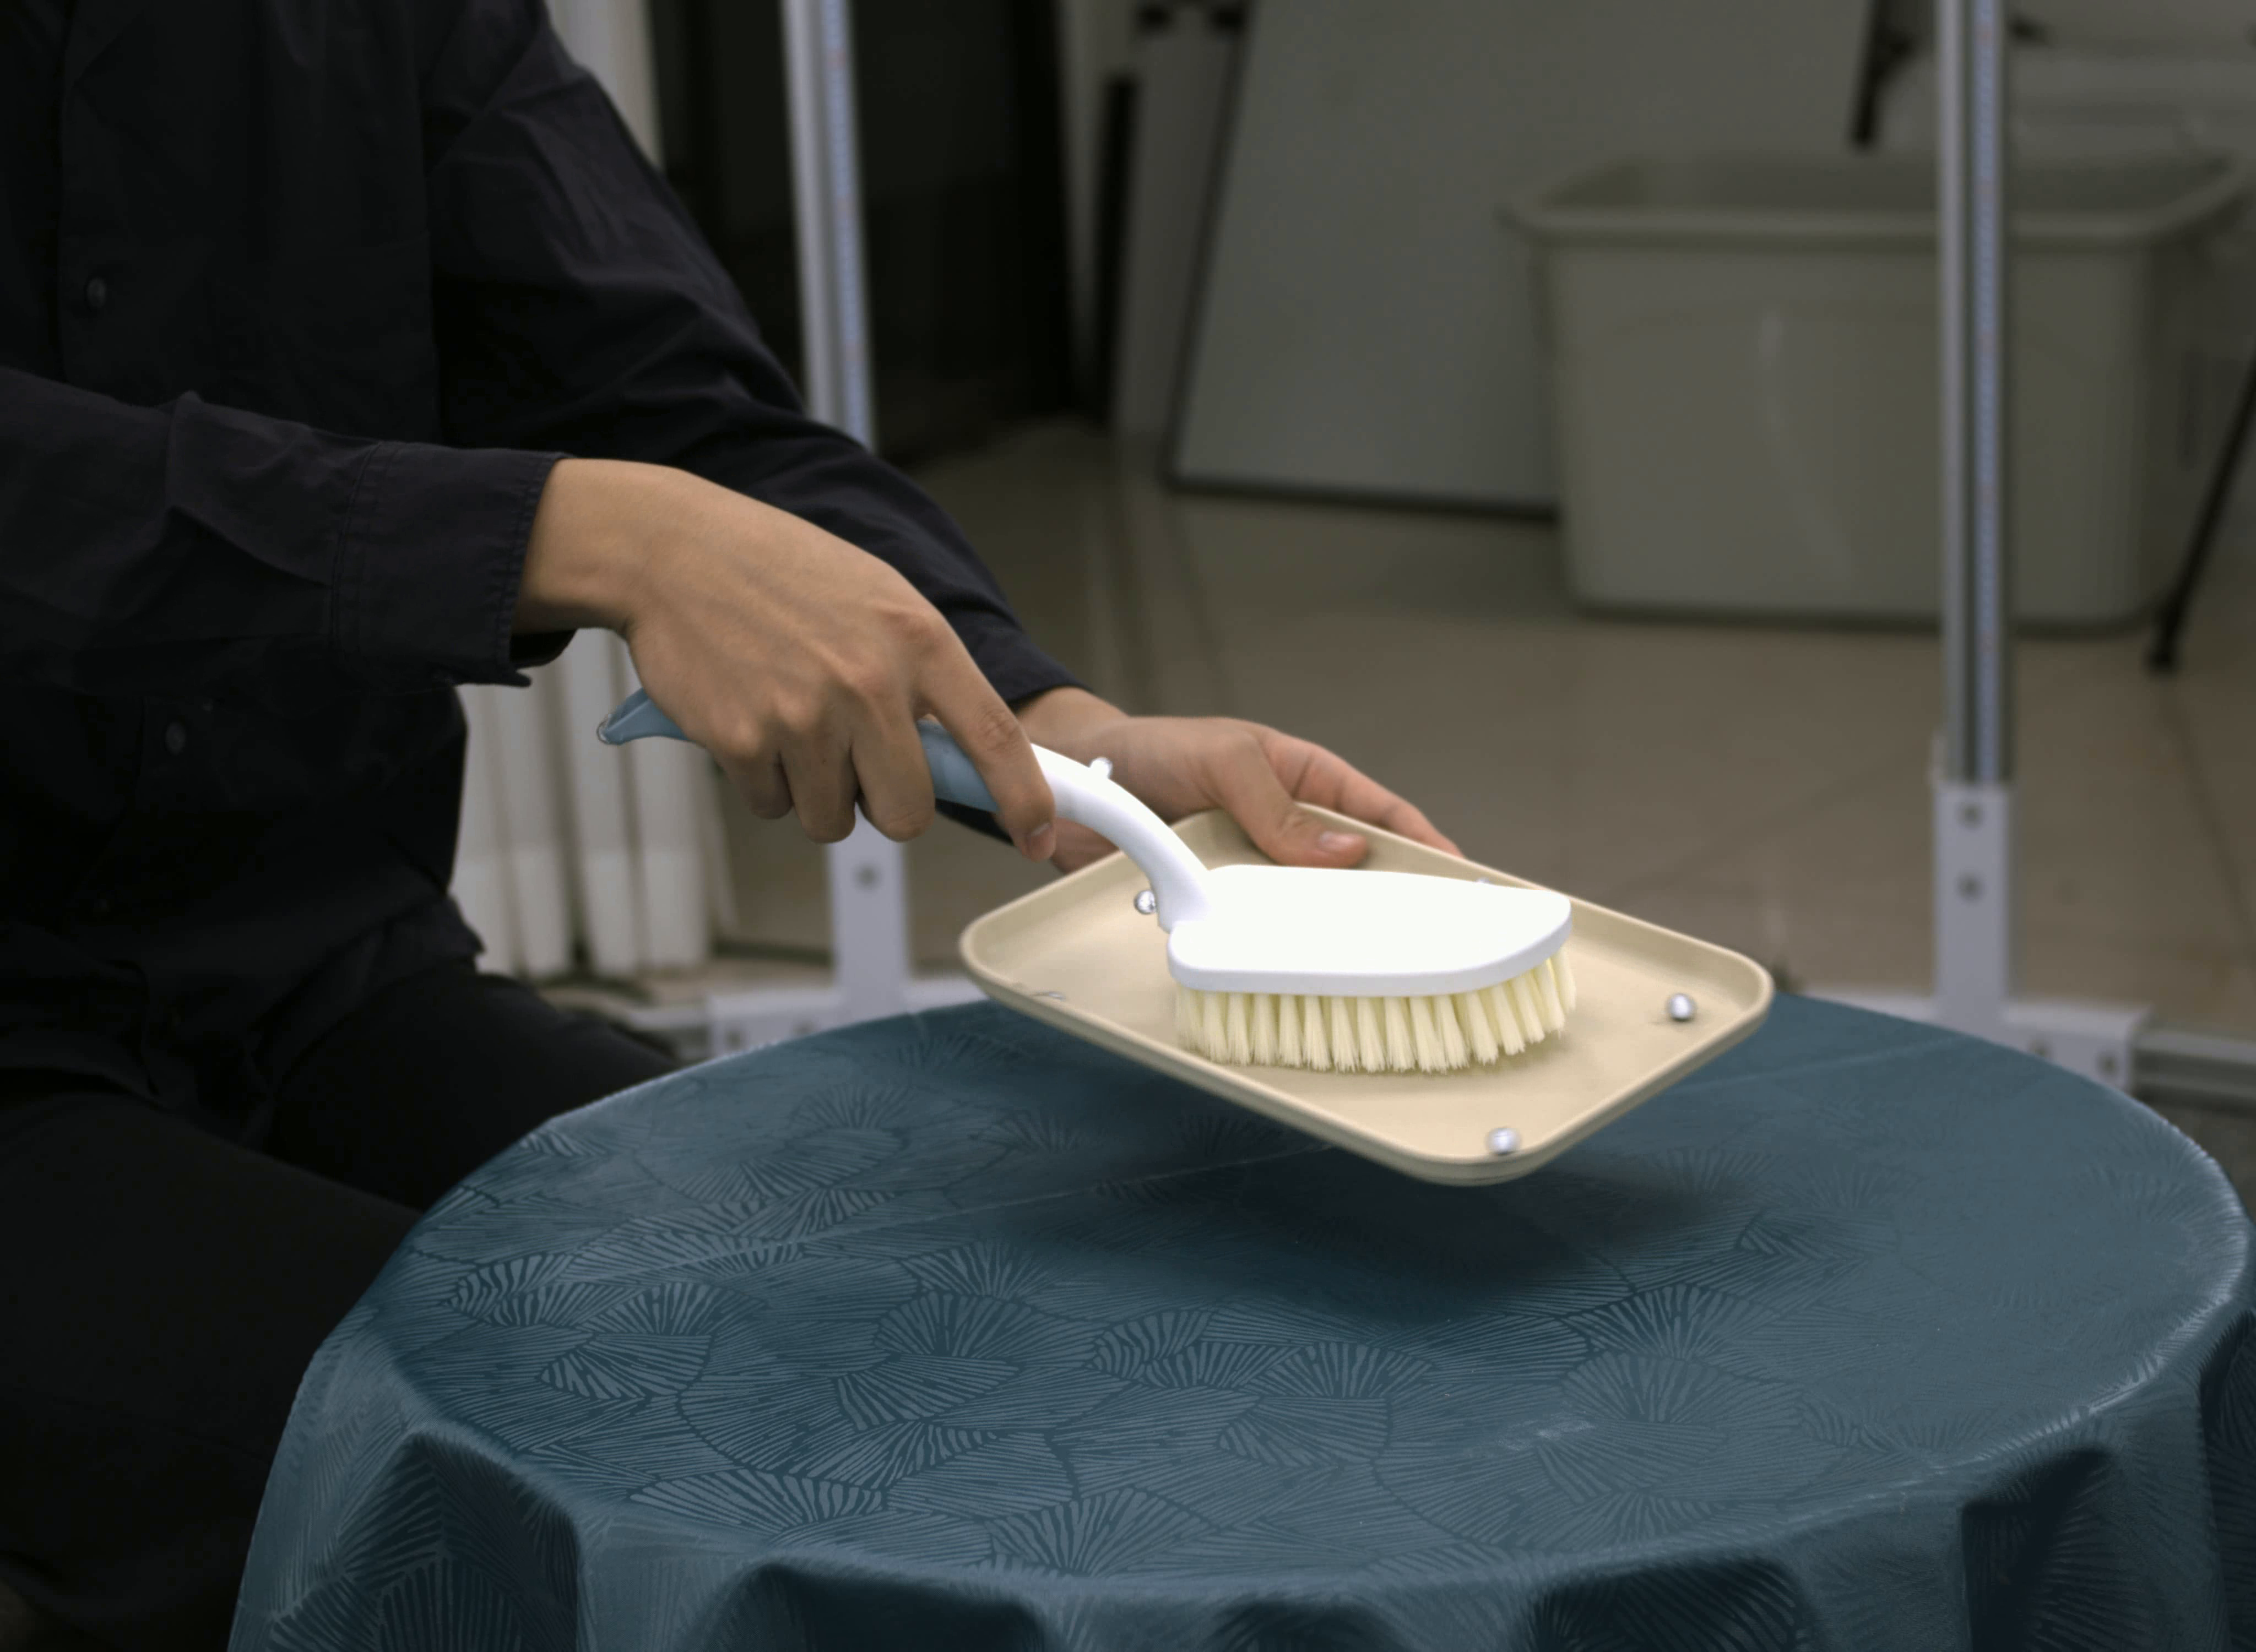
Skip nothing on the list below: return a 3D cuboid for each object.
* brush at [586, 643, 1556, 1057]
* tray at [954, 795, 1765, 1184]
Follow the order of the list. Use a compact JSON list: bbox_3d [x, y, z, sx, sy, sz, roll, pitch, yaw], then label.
[{"bbox_3d":[-0.021,0.019,1.734,0.323,0.085,0.083,13,-8,8],"label":"brush"},{"bbox_3d":[0.073,0.051,1.741,0.242,0.017,0.168,21,34,40],"label":"tray"}]
